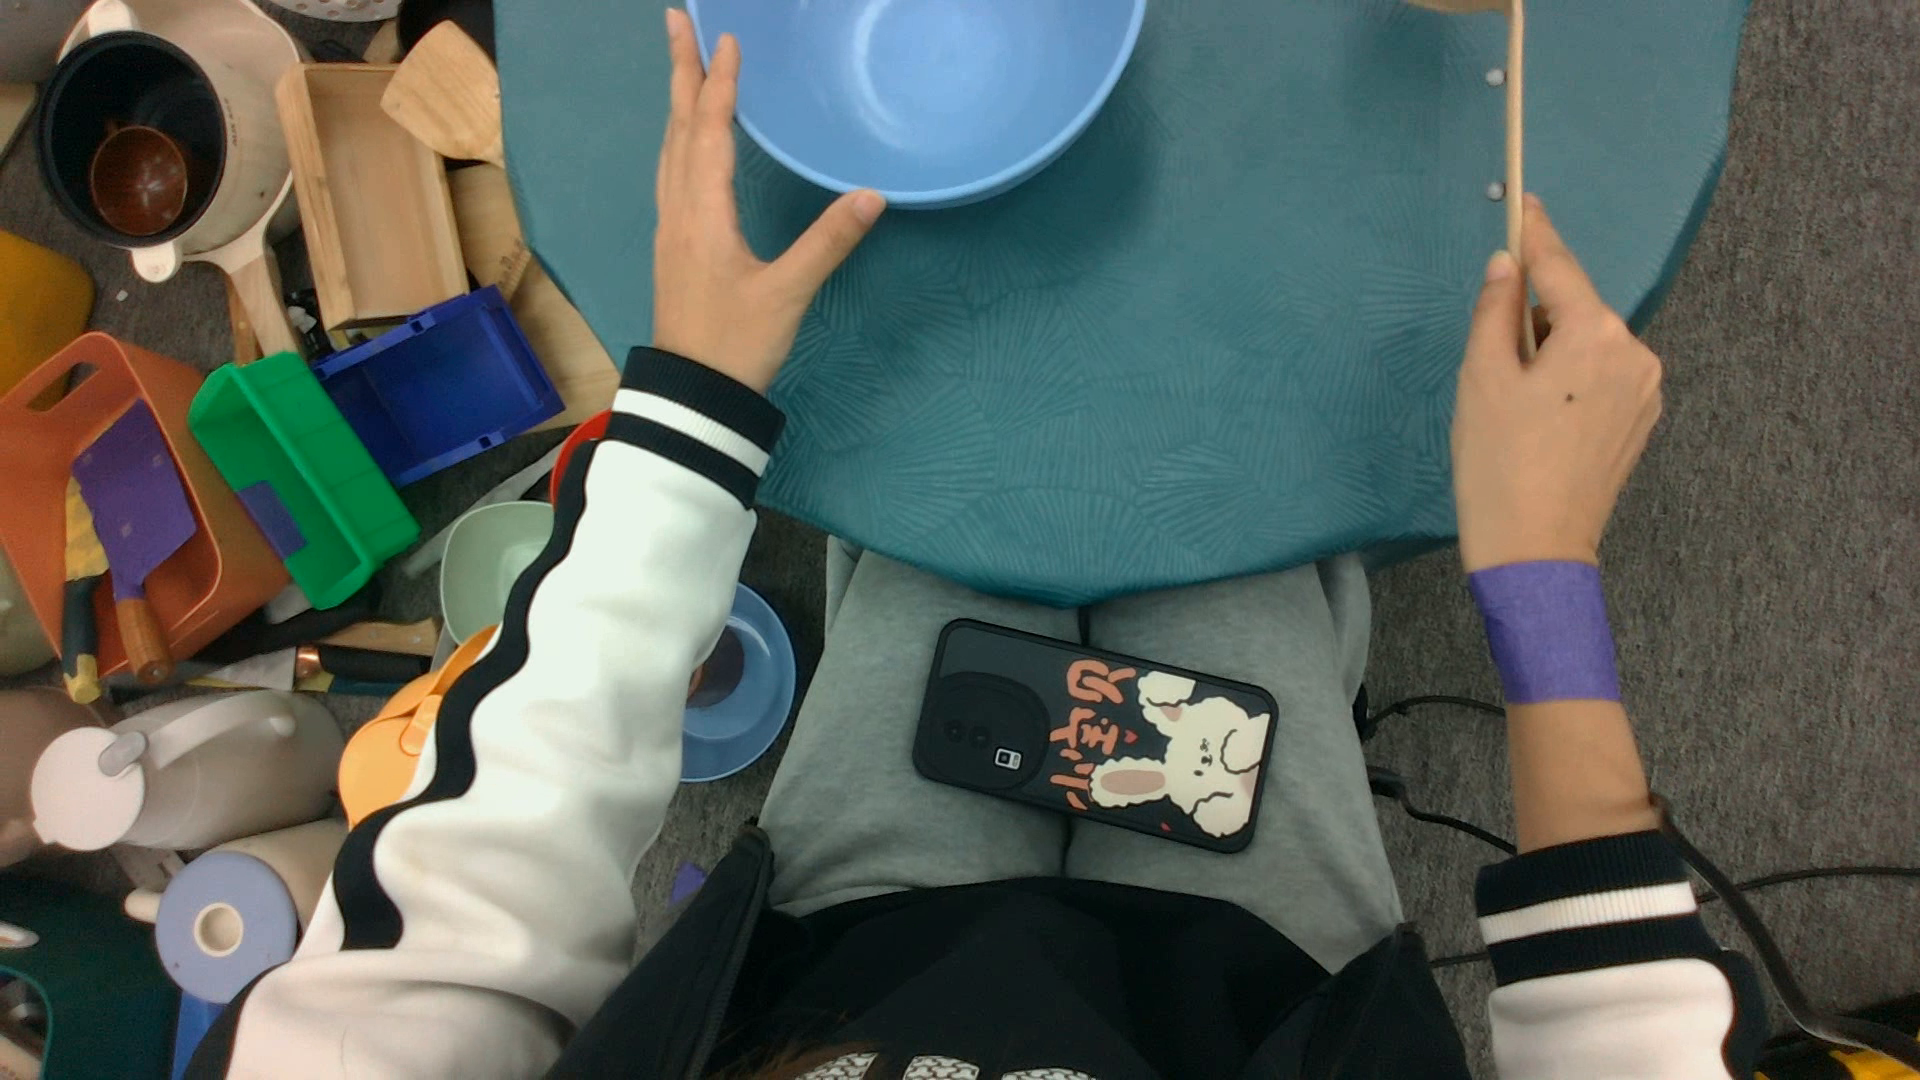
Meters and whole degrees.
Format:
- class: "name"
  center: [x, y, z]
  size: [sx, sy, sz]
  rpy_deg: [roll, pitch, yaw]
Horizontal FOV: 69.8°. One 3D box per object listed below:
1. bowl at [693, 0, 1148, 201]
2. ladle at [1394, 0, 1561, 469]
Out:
- class: "bowl"
  center: [-0.013, -0.240, 0.626]
  size: [0.196, 0.095, 0.196]
  rpy_deg: [0, 87, 4]
- class: "ladle"
  center: [0.196, -0.152, 0.562]
  size: [0.073, 0.072, 0.255]
  rpy_deg: [-2, 79, 10]
